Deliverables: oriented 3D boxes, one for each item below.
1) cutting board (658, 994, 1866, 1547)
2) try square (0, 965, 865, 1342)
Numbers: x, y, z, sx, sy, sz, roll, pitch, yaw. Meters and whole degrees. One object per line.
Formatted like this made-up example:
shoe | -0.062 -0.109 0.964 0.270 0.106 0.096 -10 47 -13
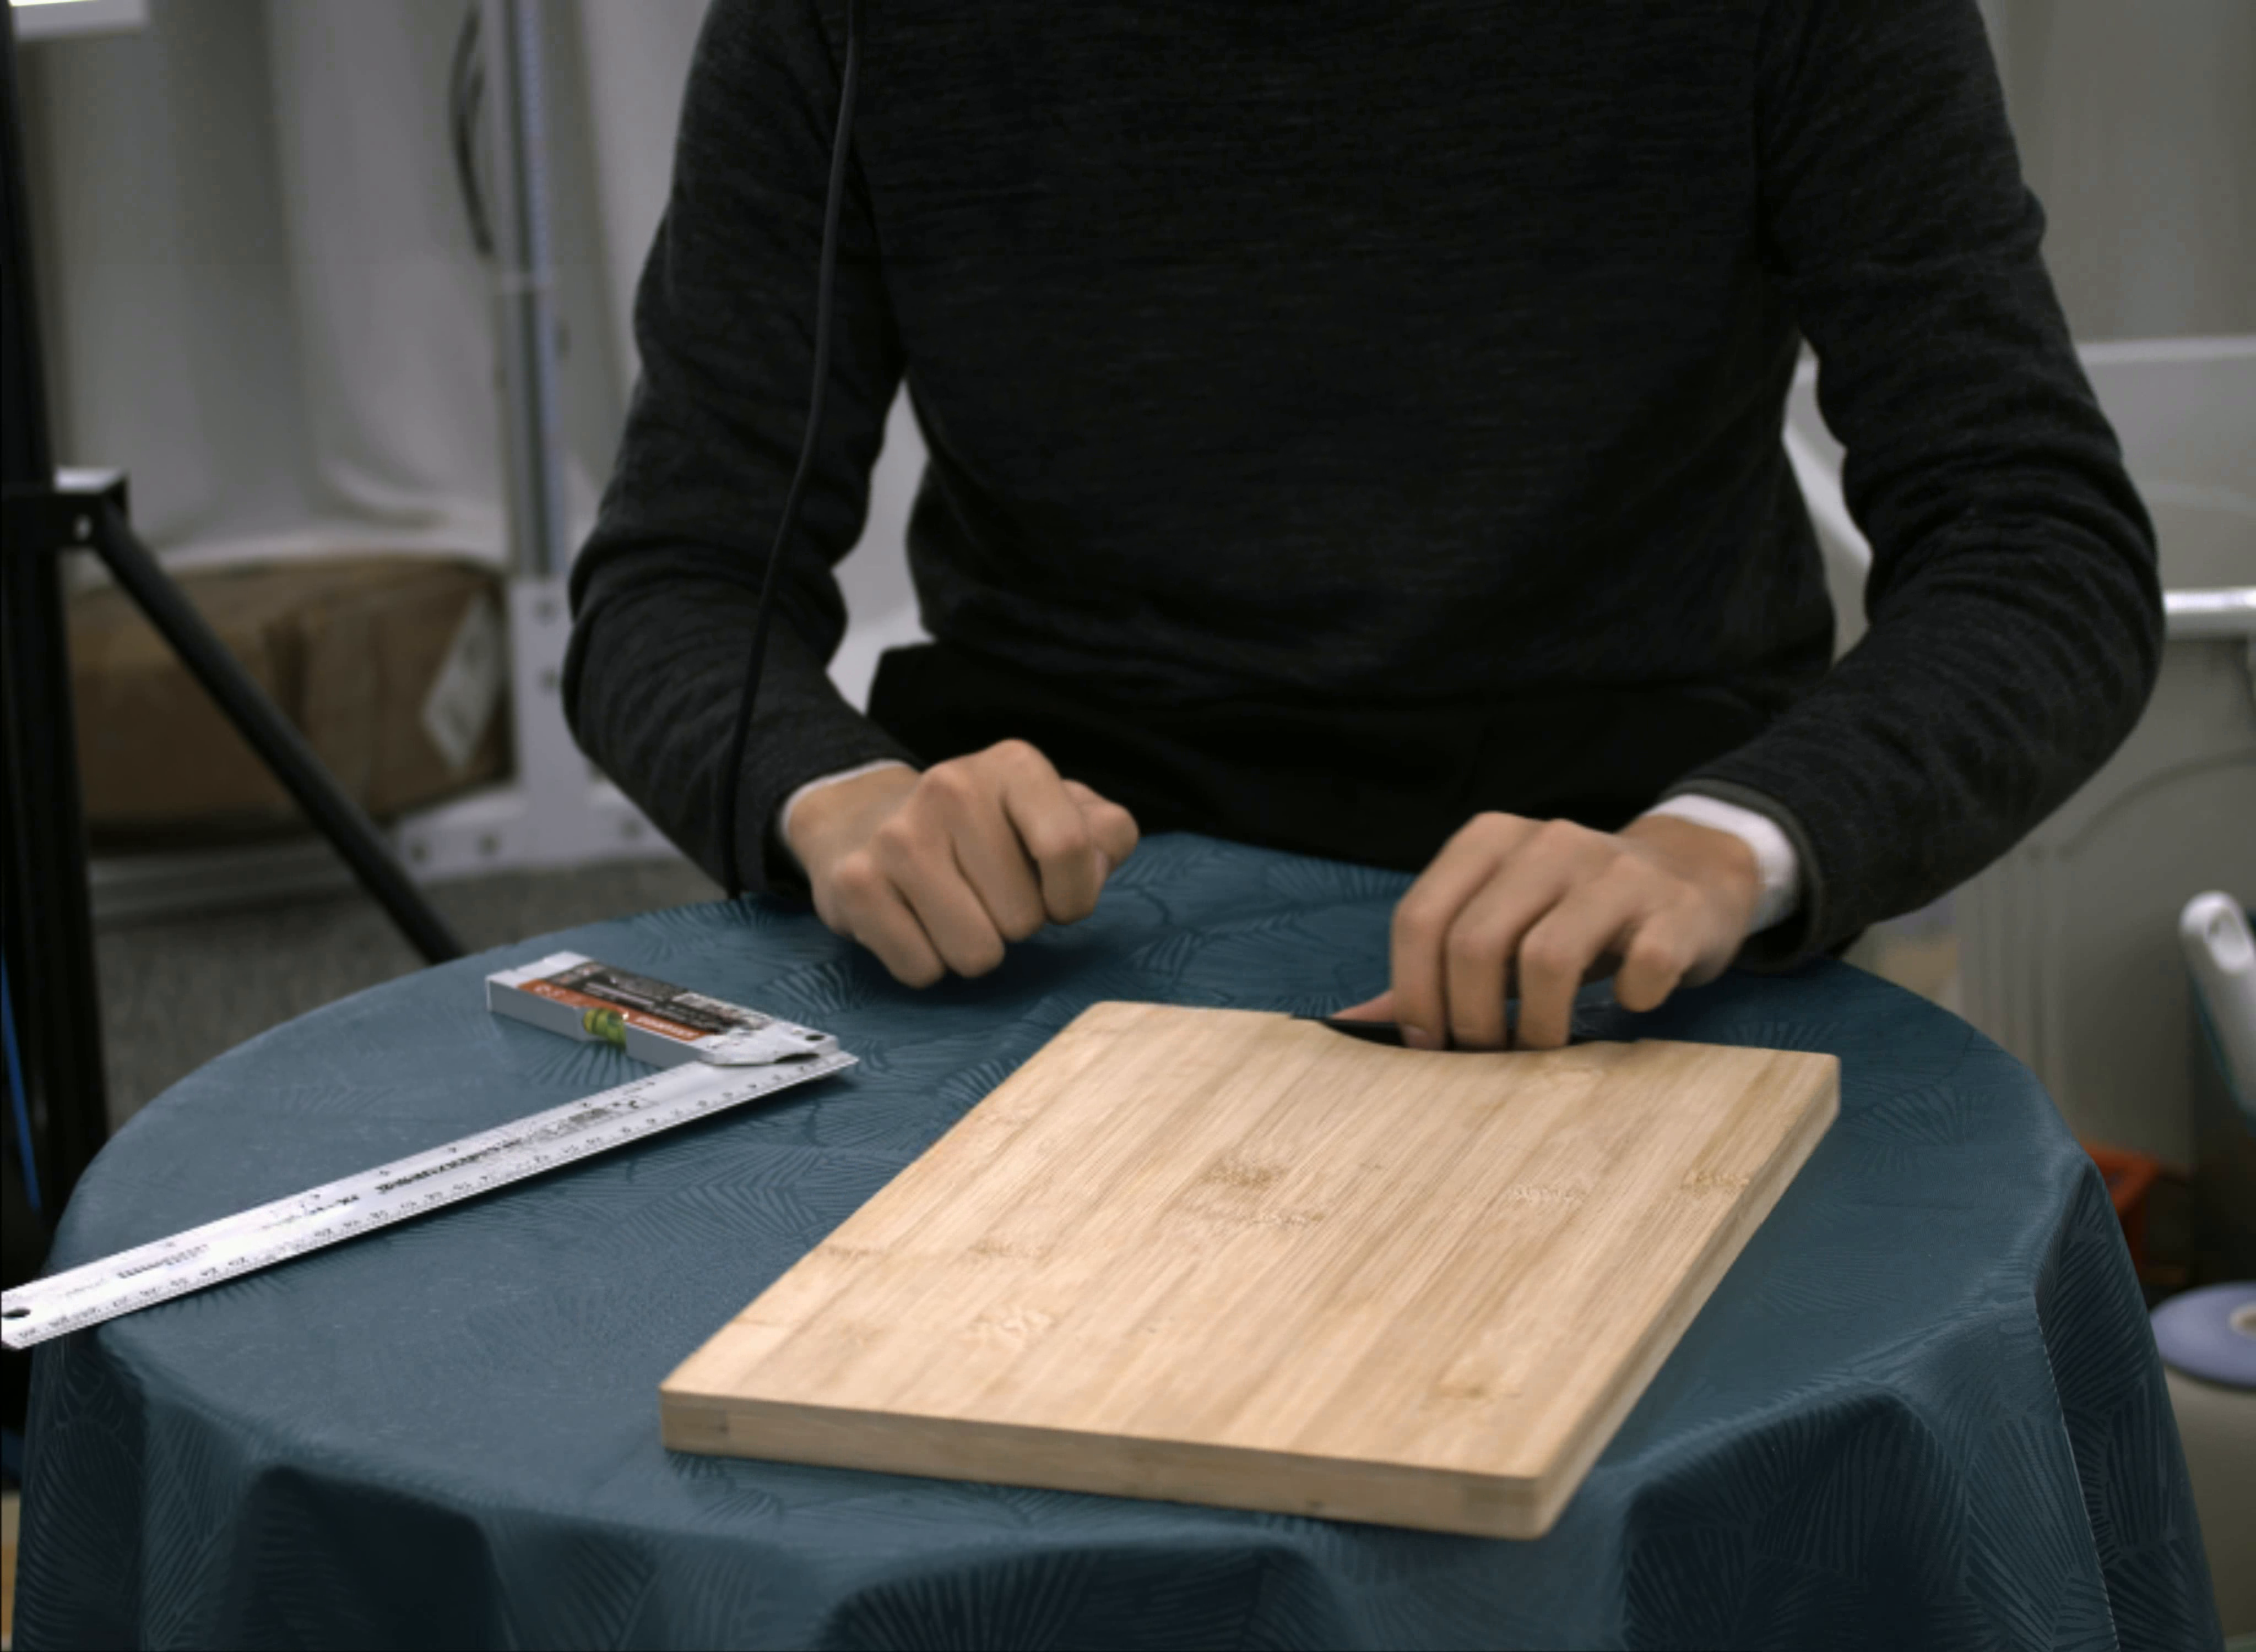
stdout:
cutting board | 0.049 0.116 1.493 0.254 0.023 0.344 4 17 20
try square | -0.243 0.097 1.628 0.306 0.016 0.156 -17 19 -39
